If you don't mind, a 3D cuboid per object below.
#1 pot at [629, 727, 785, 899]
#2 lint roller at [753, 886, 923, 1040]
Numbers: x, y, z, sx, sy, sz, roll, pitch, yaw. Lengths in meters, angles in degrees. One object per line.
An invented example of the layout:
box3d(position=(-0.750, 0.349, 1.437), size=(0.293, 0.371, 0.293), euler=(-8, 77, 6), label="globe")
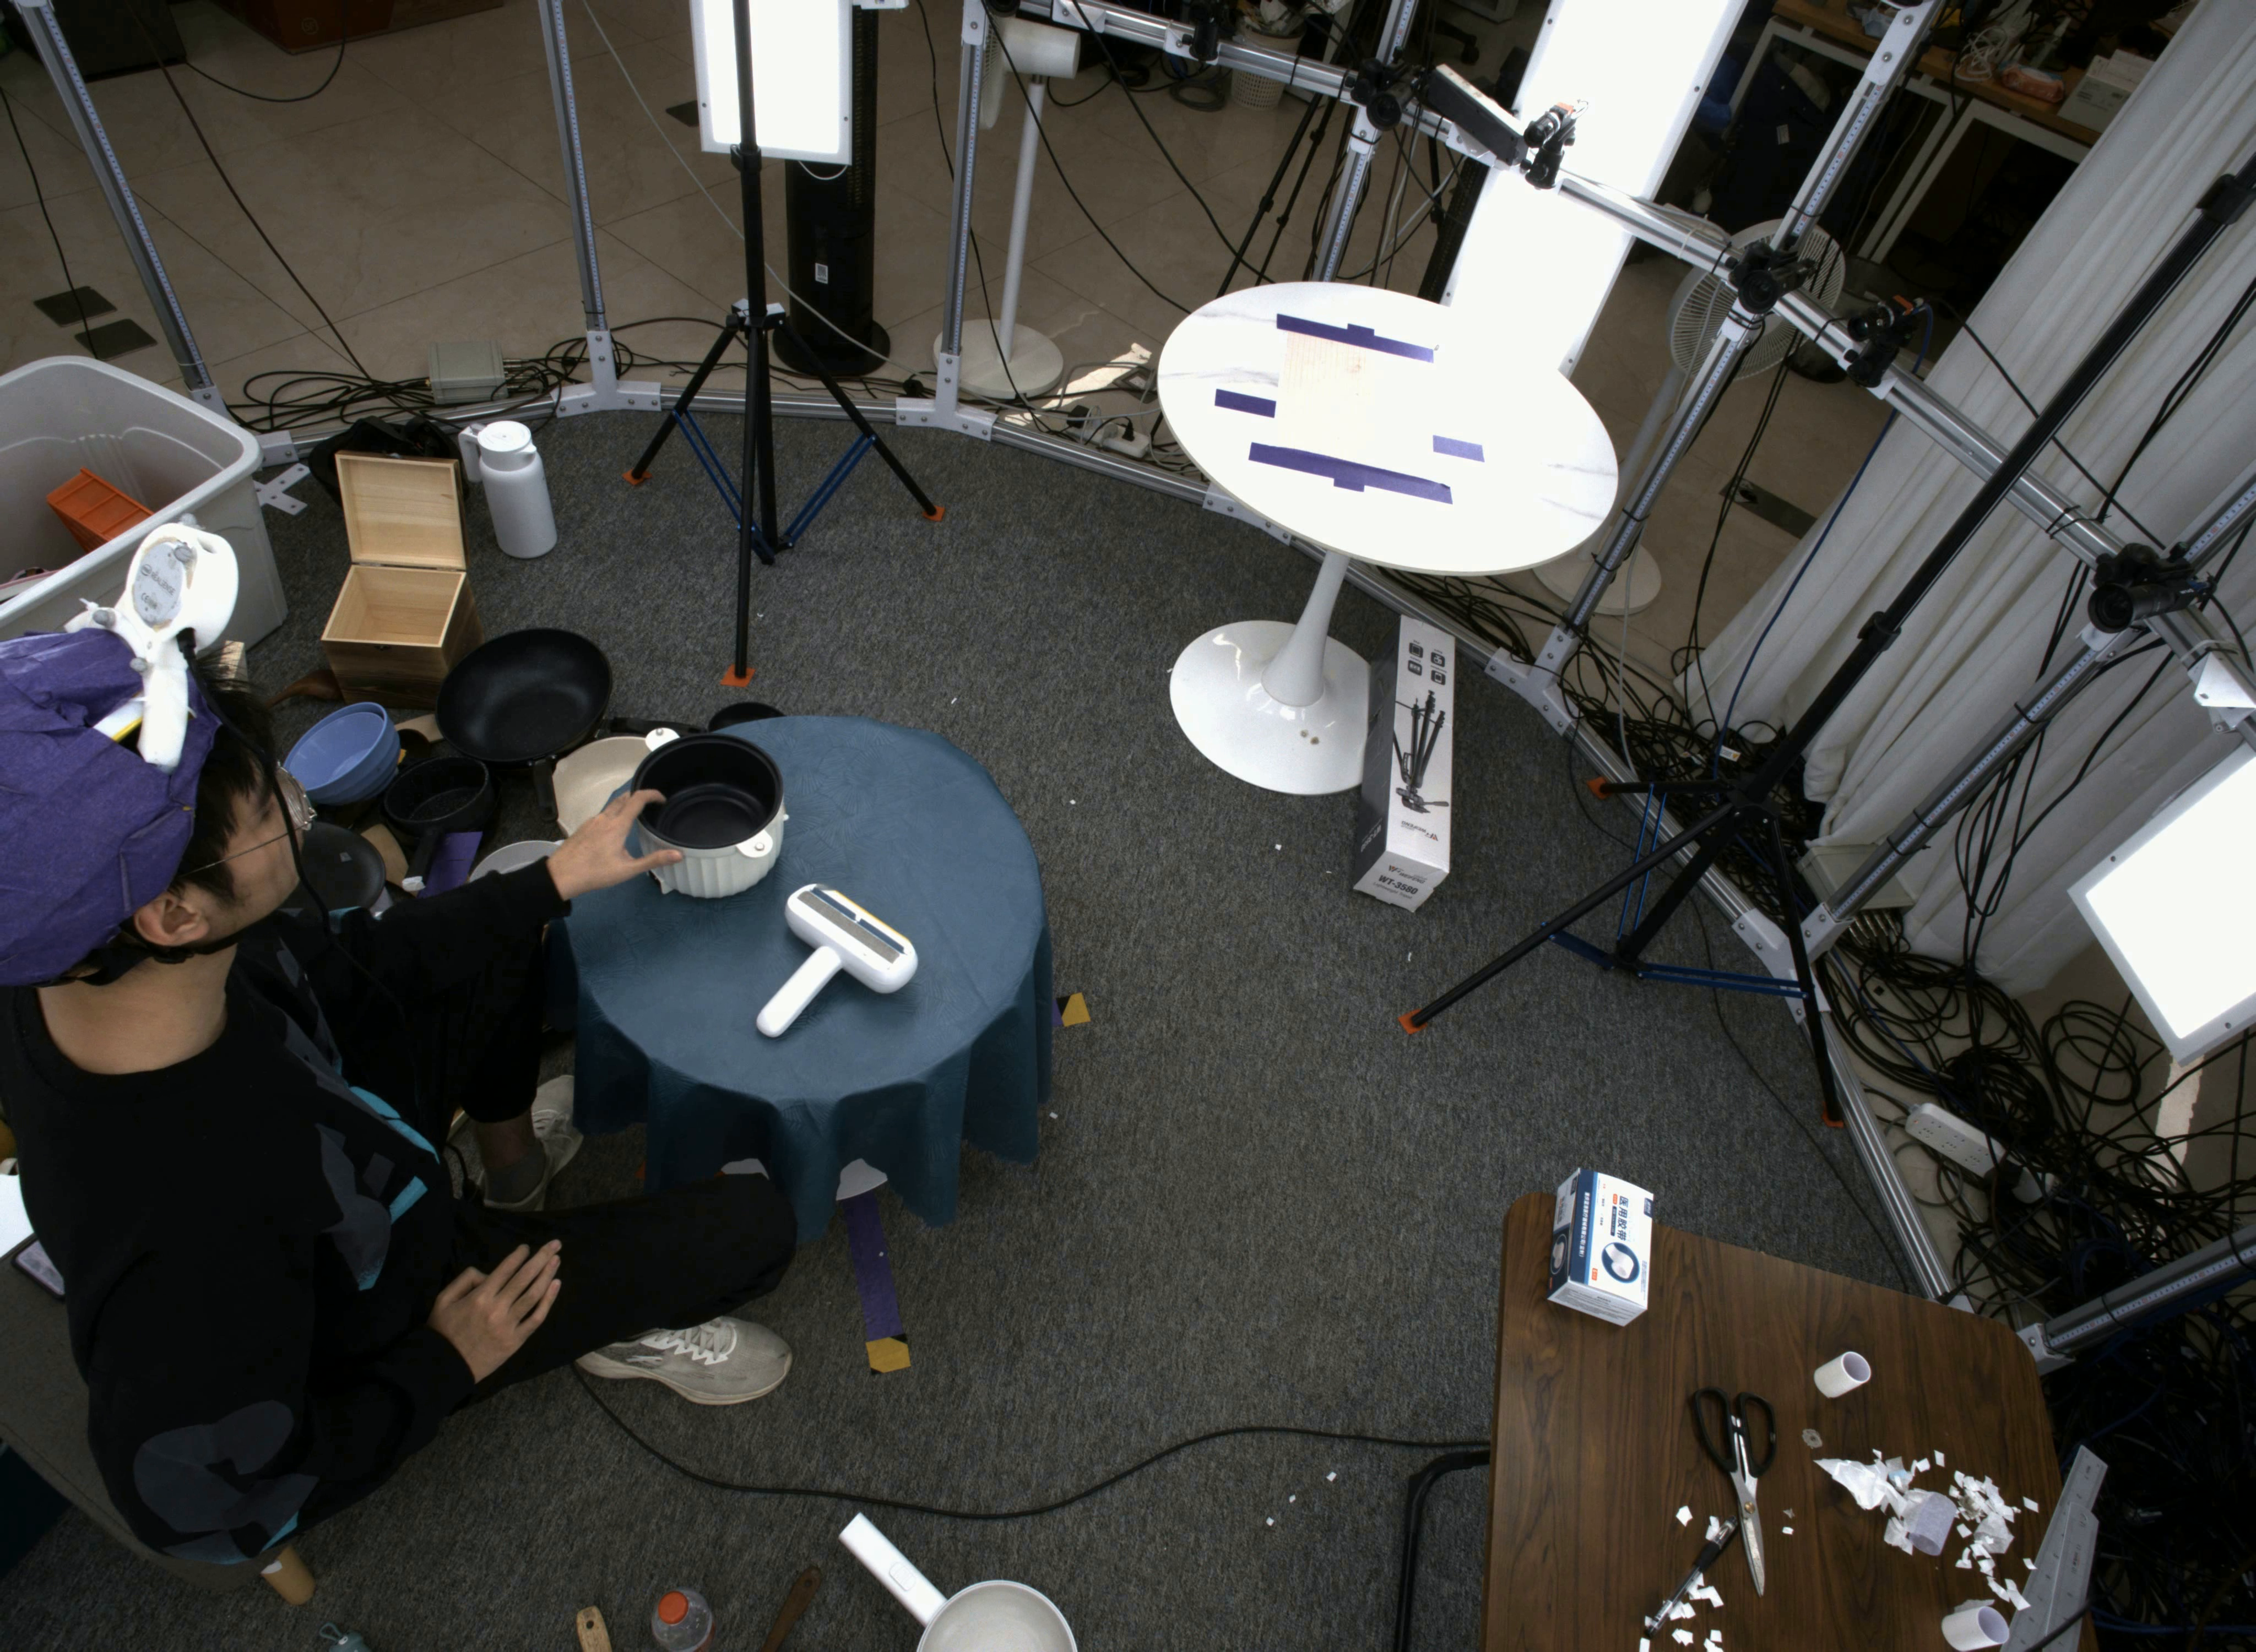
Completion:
box3d(position=(-0.521, -0.011, 1.622), size=(0.235, 0.145, 0.191), euler=(43, 58, 17), label="pot")
box3d(position=(-0.373, 0.176, 1.570), size=(0.188, 0.076, 0.192), euler=(36, 55, 20), label="lint roller")
